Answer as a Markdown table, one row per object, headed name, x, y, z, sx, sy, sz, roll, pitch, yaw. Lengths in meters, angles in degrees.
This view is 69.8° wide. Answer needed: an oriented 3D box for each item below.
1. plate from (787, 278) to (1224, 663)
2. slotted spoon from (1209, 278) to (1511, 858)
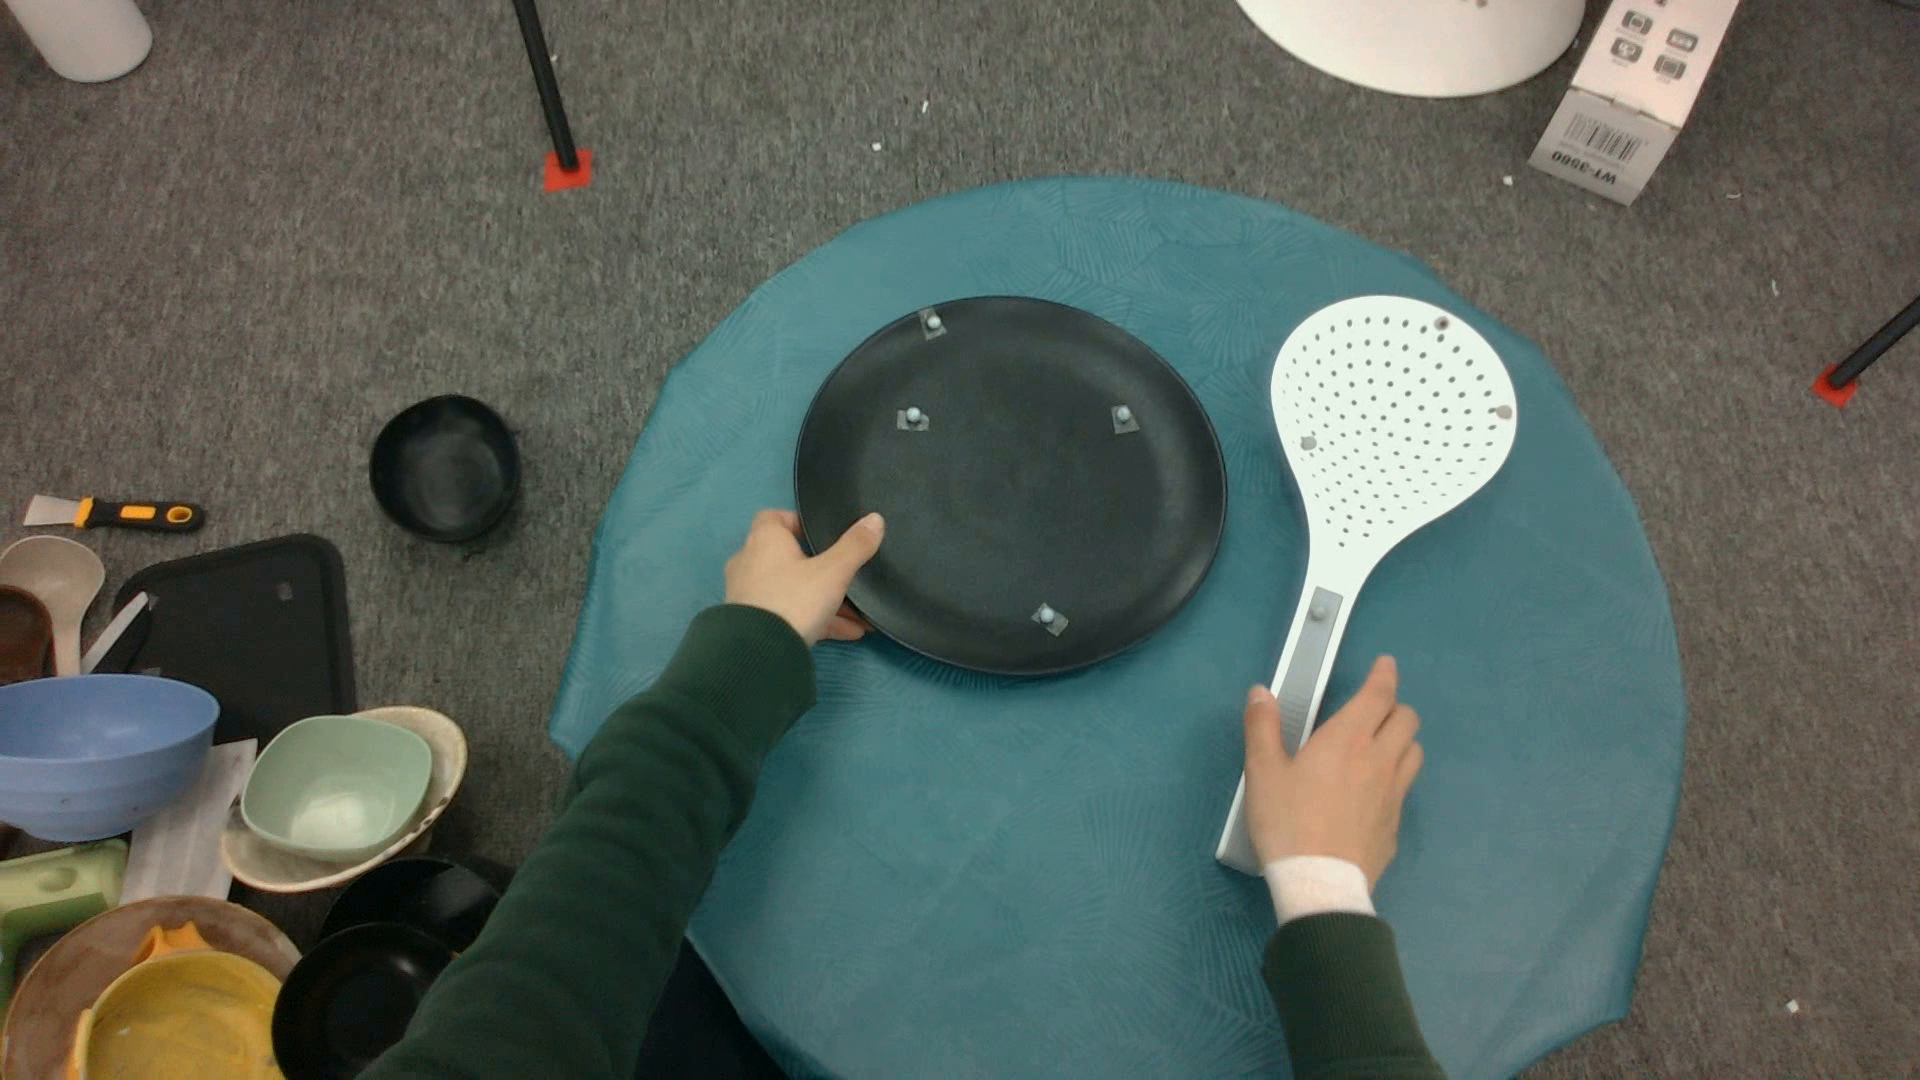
| name | x | y | z | sx | sy | sz | roll | pitch | yaw |
| --- | --- | --- | --- | --- | --- | --- | --- | --- | --- |
| plate | 0.026 | -0.043 | 0.772 | 0.244 | 0.023 | 0.245 | 2 | 64 | -3 |
| slotted spoon | 0.202 | 0.006 | 0.748 | 0.136 | 0.045 | 0.351 | 20 | 65 | 9 |
